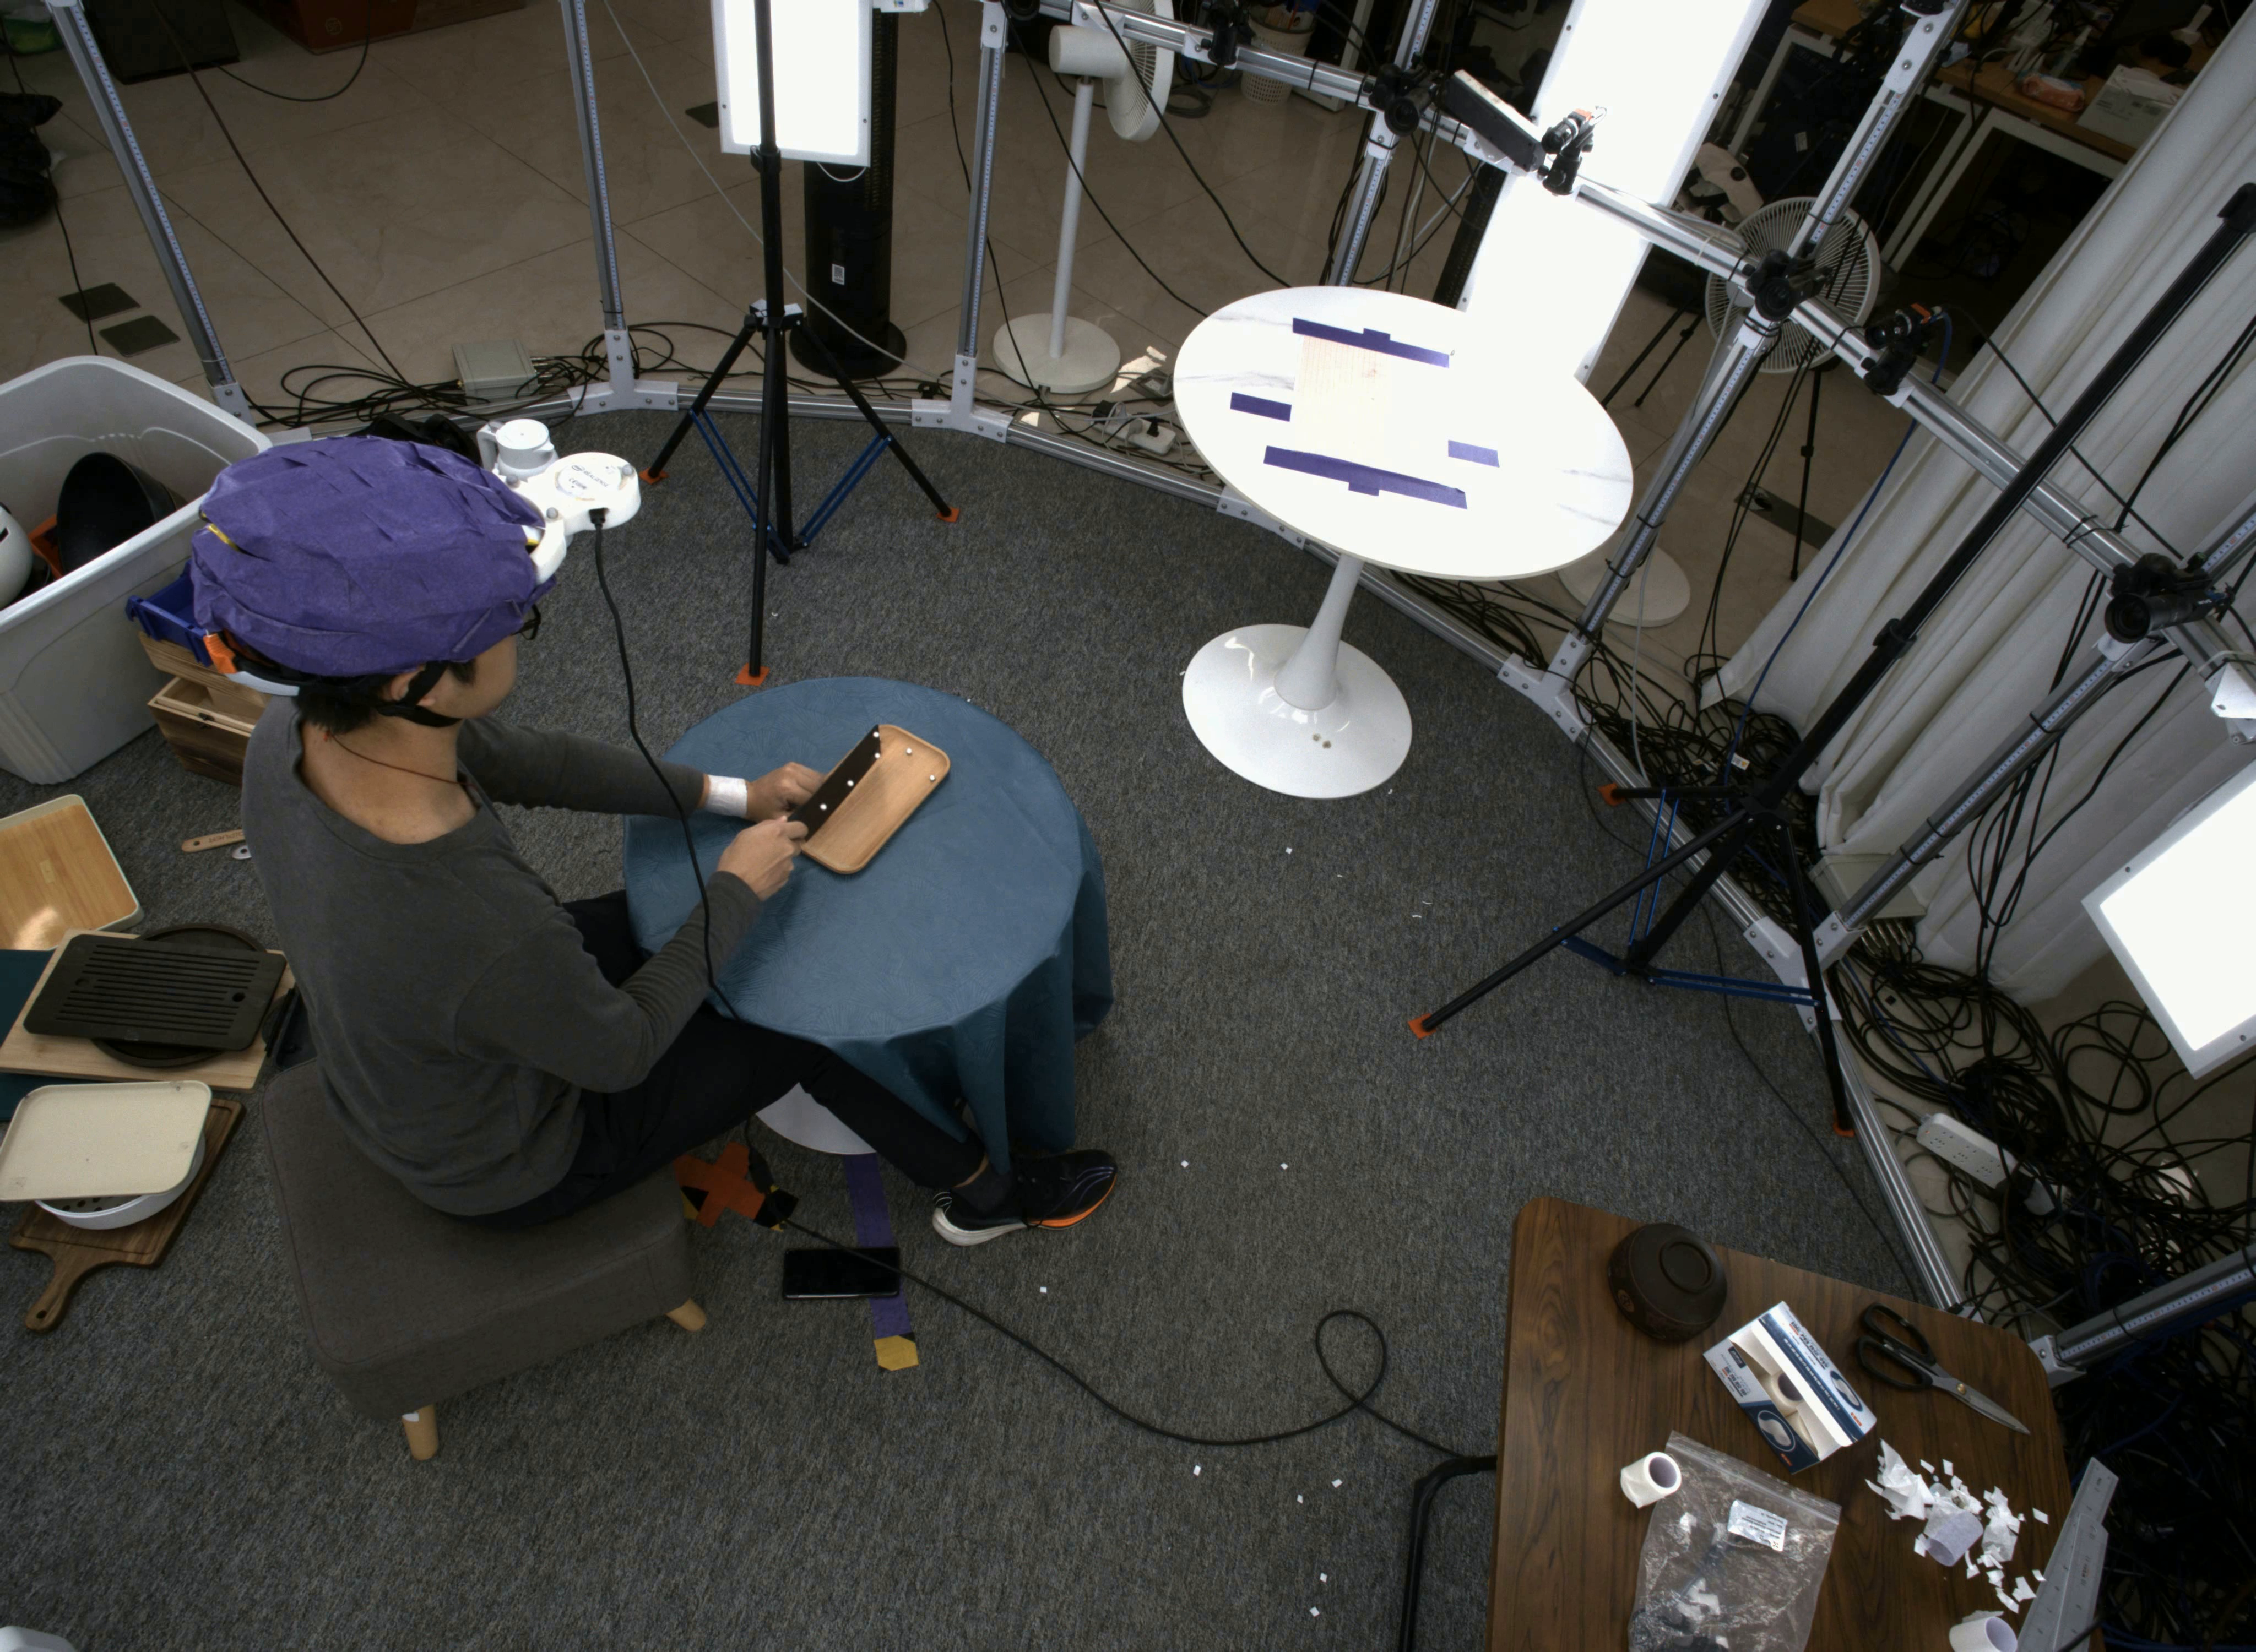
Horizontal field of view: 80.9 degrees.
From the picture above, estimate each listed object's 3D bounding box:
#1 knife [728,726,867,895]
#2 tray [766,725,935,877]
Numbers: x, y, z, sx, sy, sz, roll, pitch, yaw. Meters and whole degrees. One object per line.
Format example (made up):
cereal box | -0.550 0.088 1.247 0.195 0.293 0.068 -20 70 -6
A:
knife | -0.423 -0.020 1.683 0.020 0.083 0.300 21 46 14
tray | -0.374 -0.037 1.765 0.128 0.023 0.250 28 54 10
